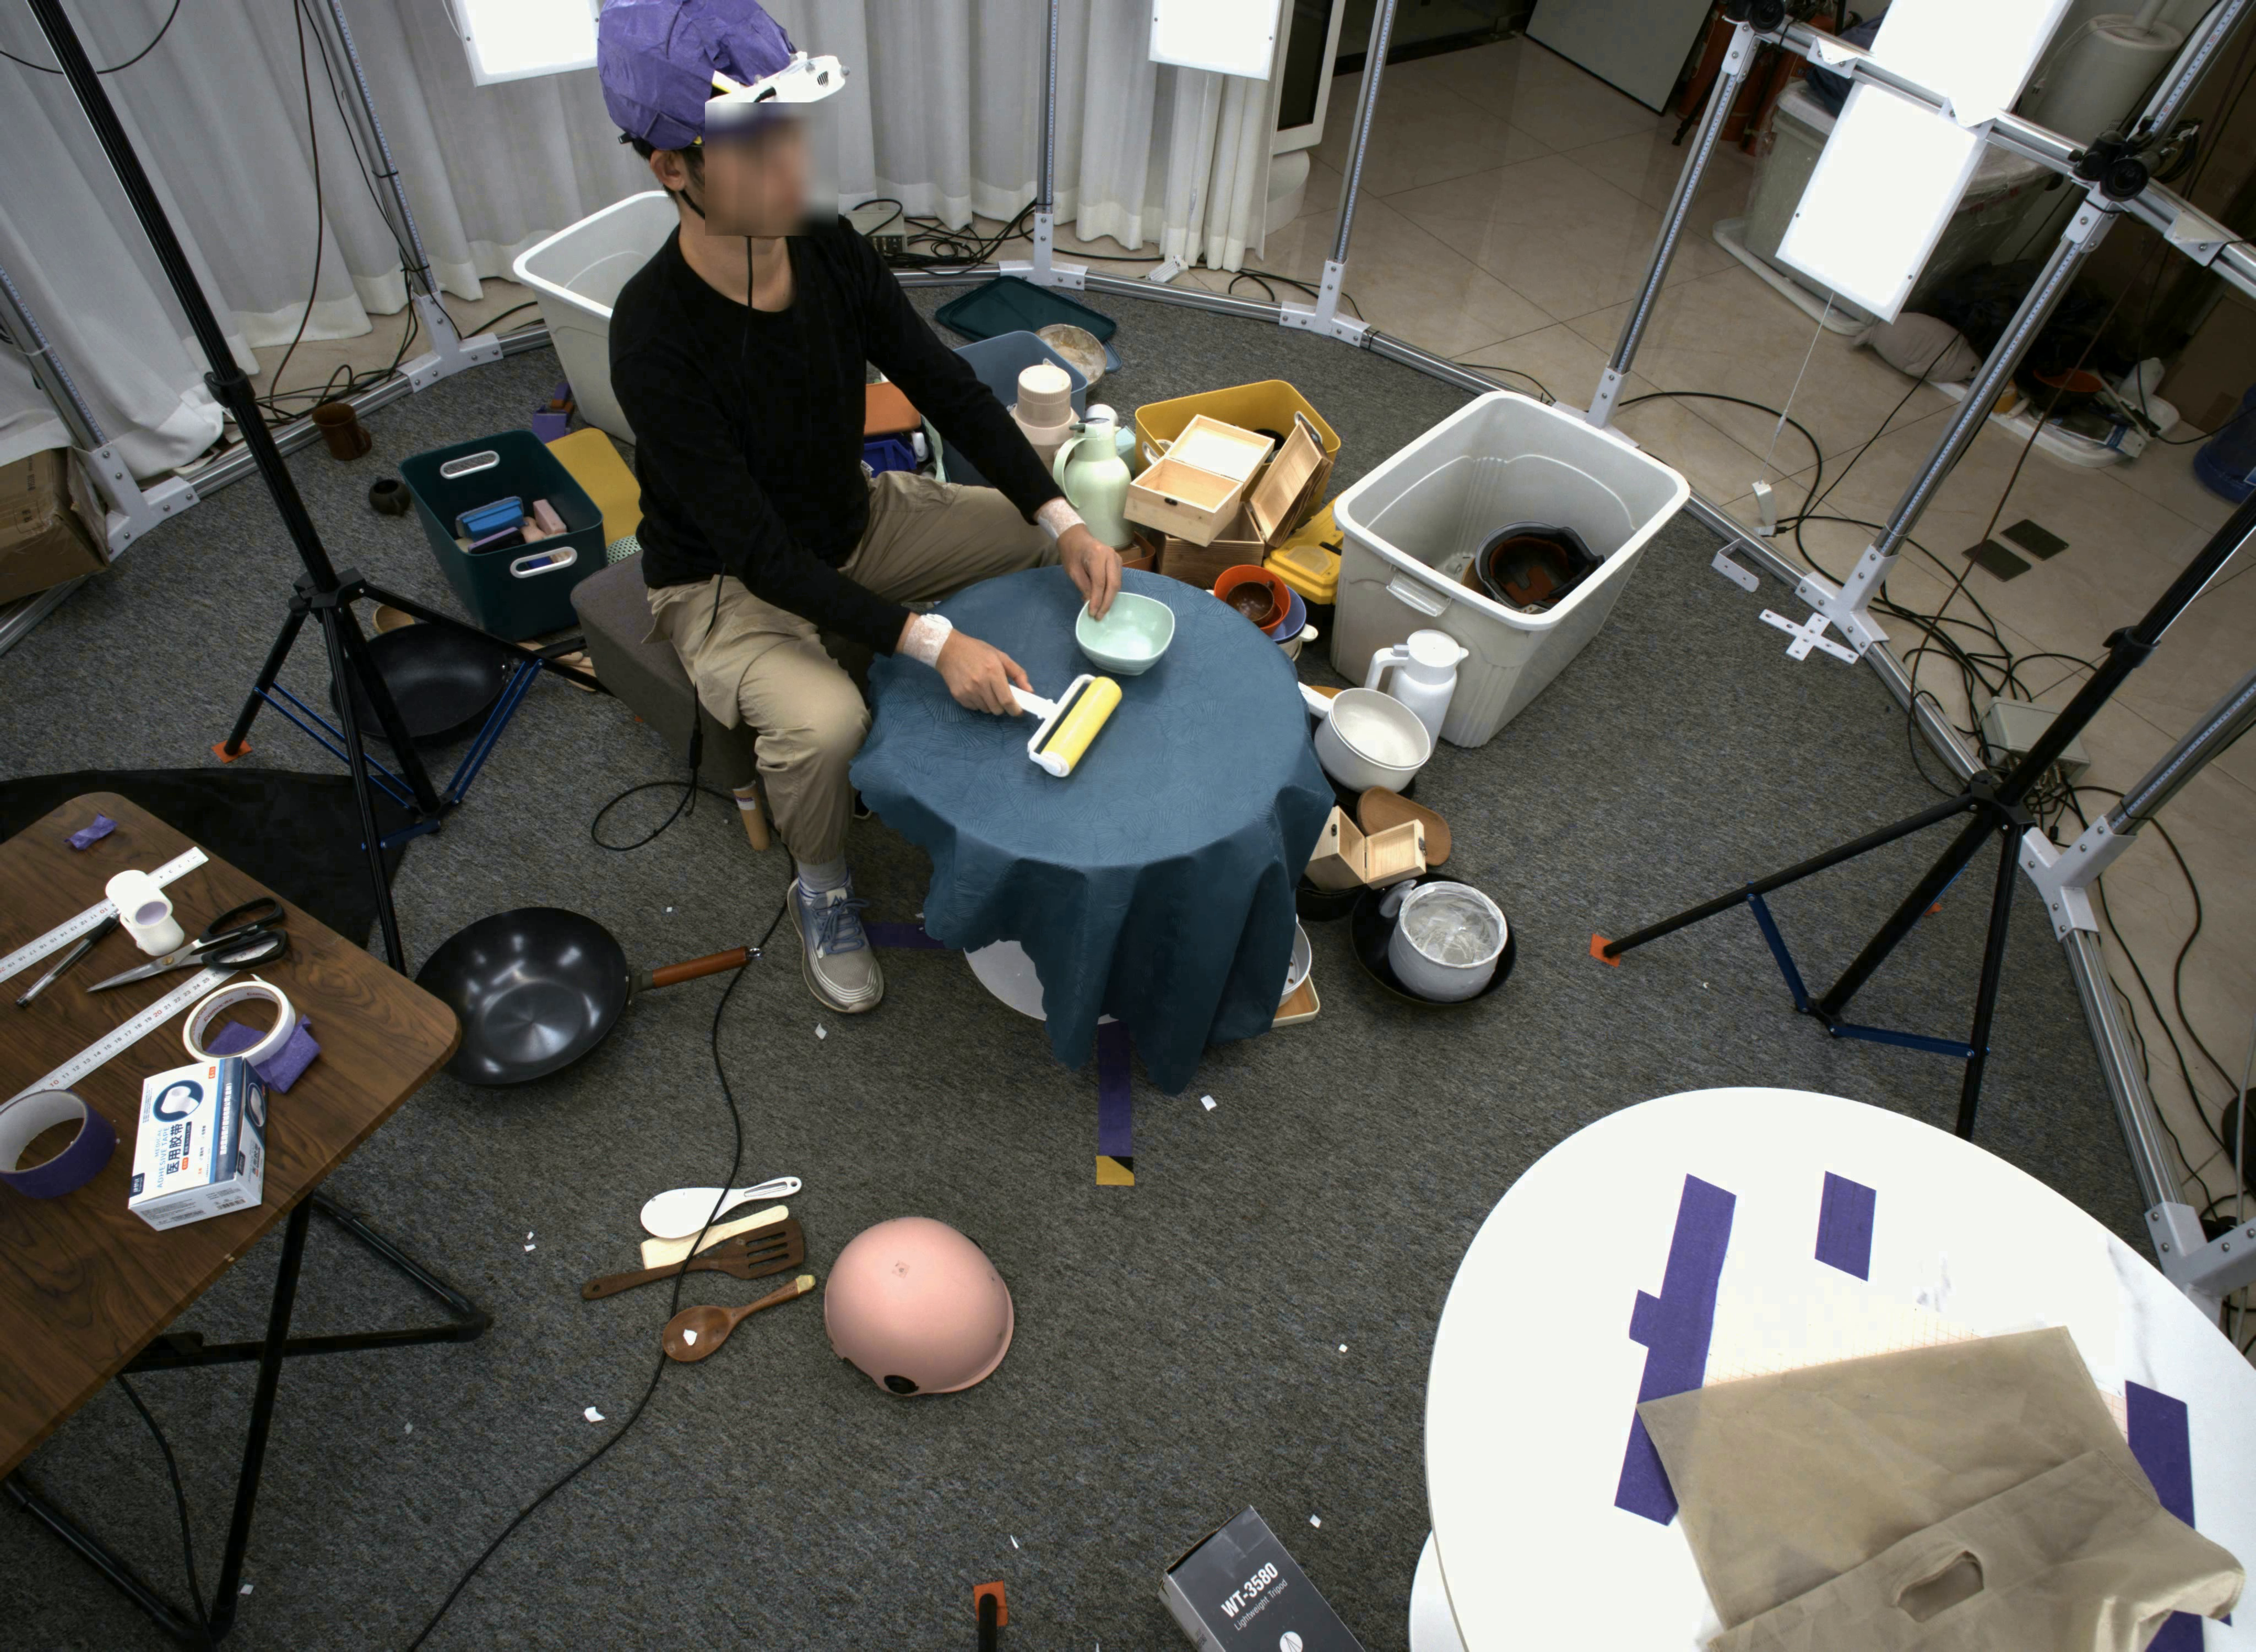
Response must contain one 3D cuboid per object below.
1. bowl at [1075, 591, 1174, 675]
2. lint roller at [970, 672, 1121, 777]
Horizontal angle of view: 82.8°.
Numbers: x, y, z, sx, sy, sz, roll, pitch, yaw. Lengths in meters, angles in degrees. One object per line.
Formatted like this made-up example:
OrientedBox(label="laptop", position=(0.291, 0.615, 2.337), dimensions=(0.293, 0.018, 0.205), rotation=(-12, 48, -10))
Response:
OrientedBox(label="bowl", position=(-0.006, -0.272, 1.869), dimensions=(0.151, 0.057, 0.155), rotation=(3, 50, -4))
OrientedBox(label="lint roller", position=(-0.127, -0.171, 1.756), dimensions=(0.192, 0.050, 0.177), rotation=(29, 53, 2))
